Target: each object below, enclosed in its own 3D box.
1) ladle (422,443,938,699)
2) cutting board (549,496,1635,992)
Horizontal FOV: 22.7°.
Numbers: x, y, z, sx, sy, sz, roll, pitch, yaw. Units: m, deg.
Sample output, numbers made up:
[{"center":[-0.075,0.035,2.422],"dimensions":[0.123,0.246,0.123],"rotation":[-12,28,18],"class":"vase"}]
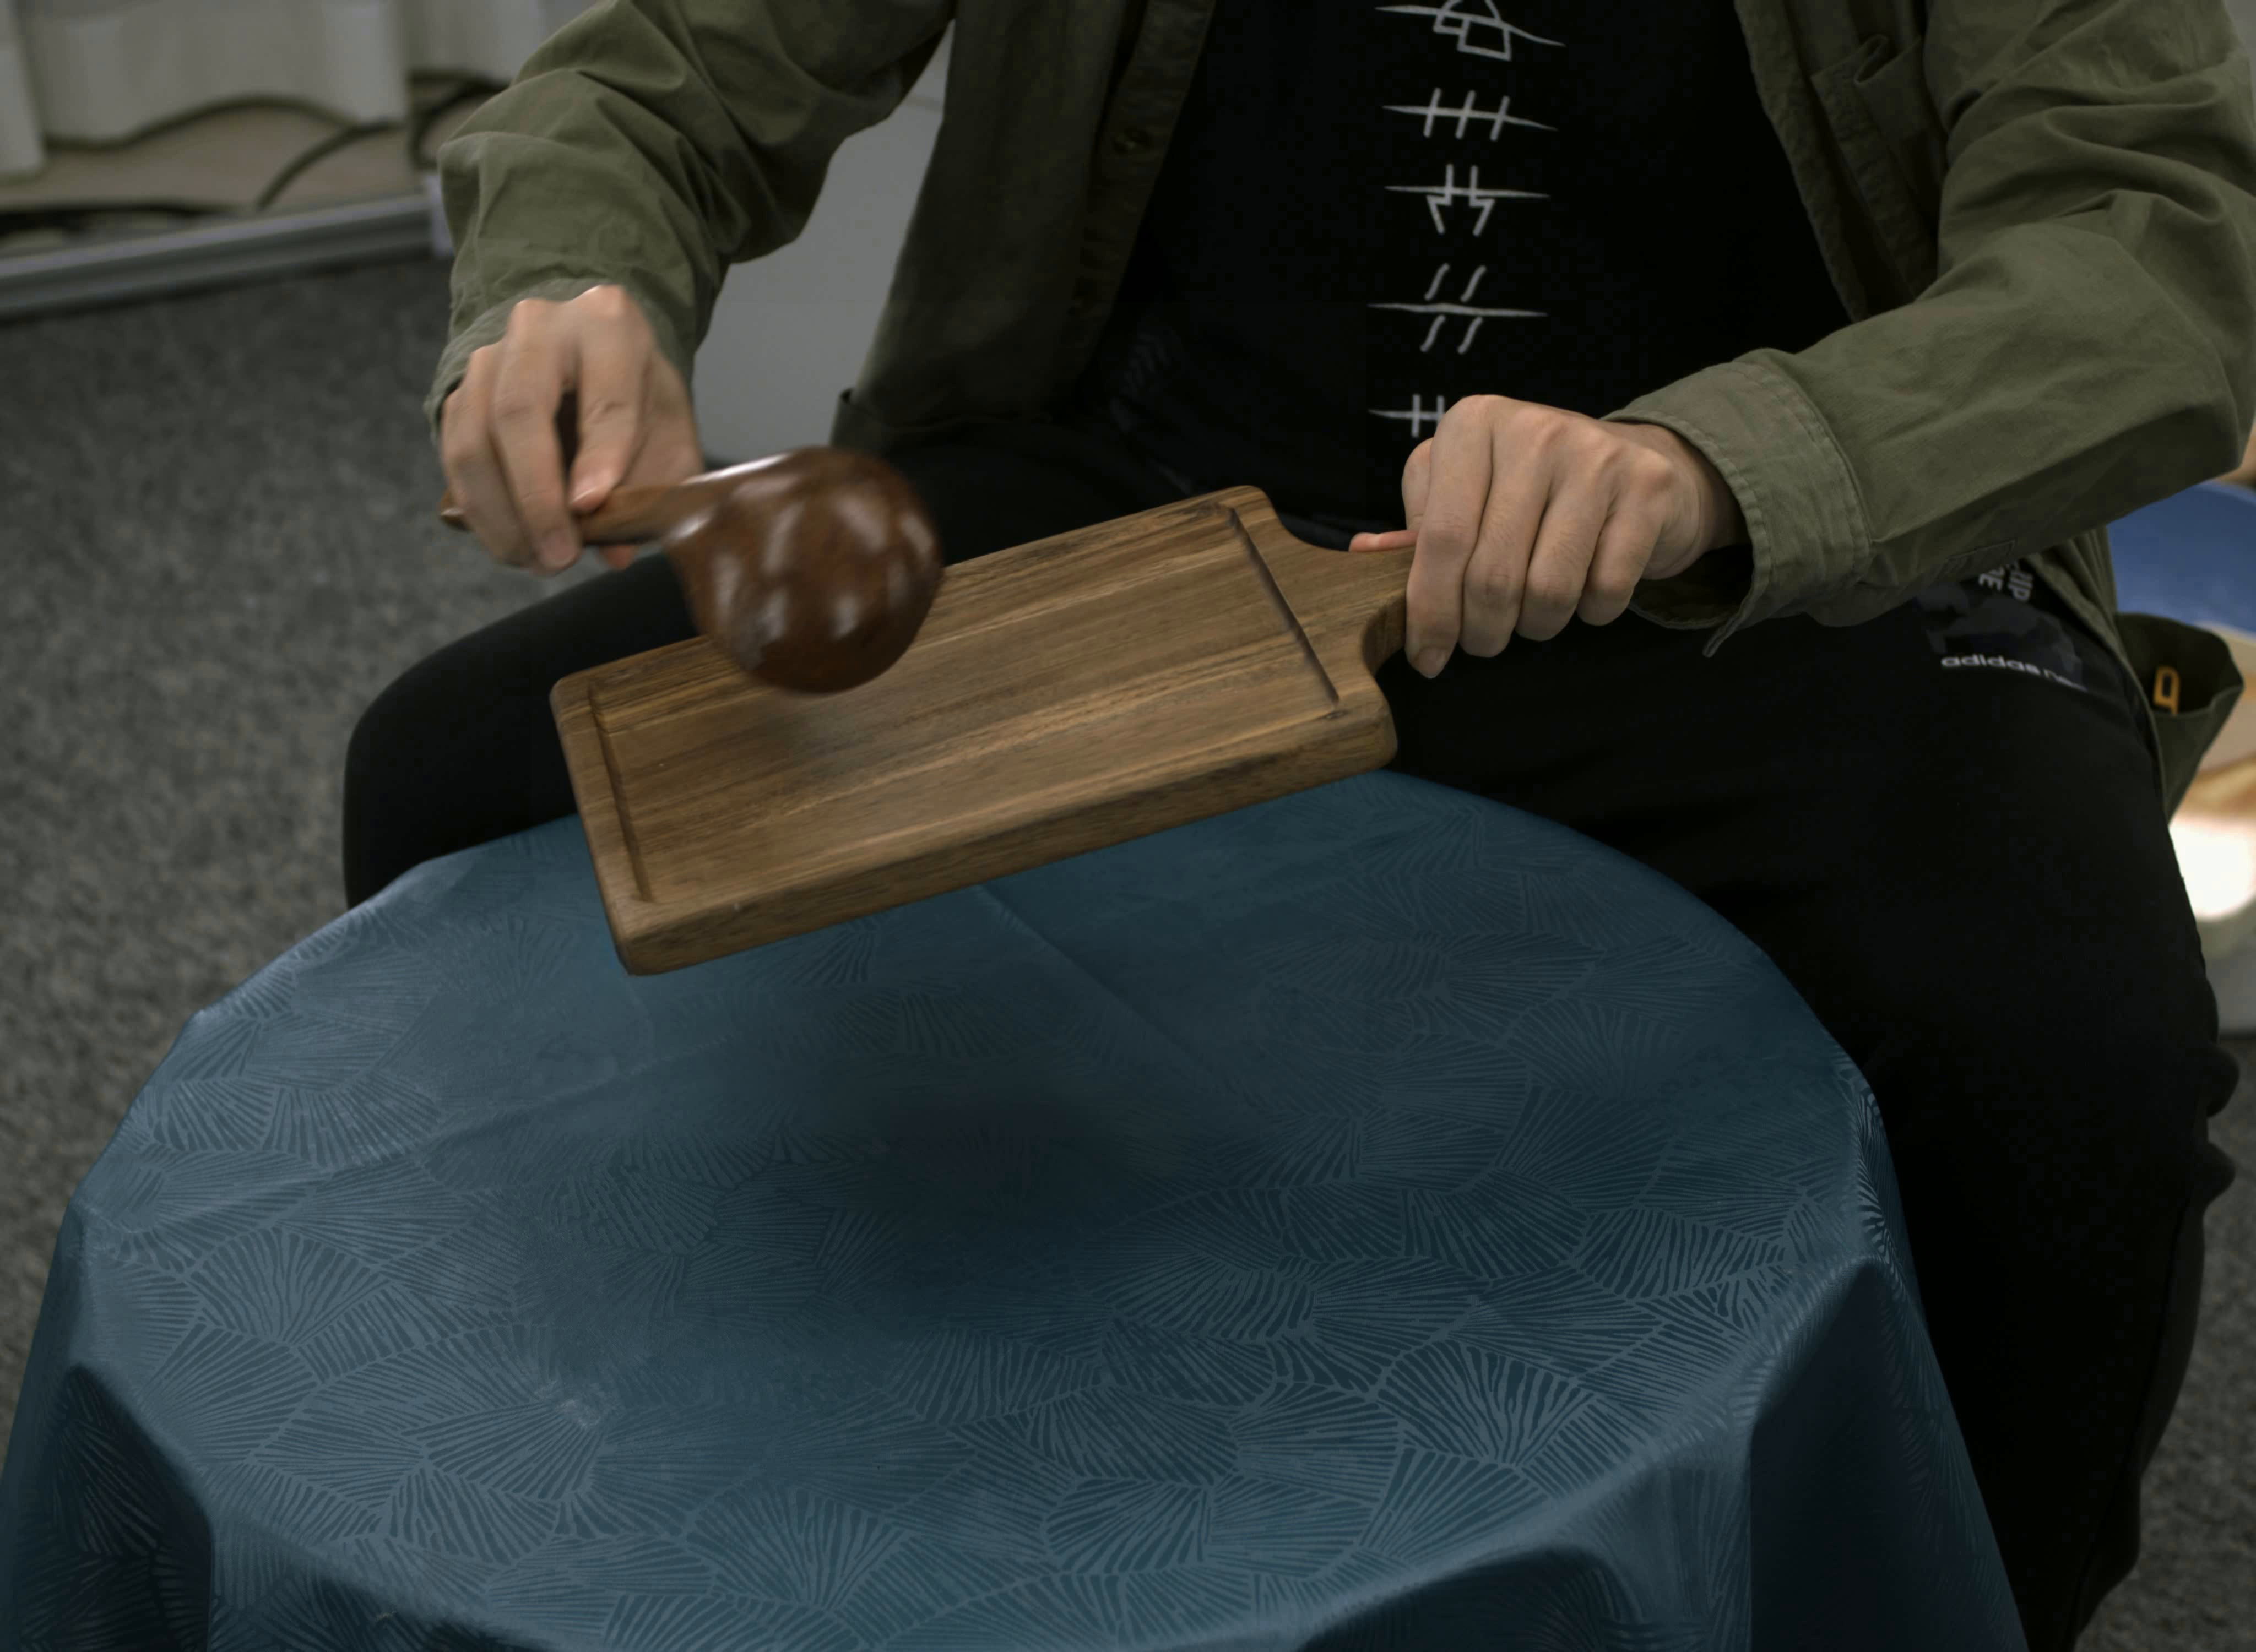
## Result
[{"center":[-0.150,-0.090,1.857],"dimensions":[0.083,0.076,0.272],"rotation":[-56,25,-13],"class":"ladle"},{"center":[-0.007,-0.043,1.795],"dimensions":[0.351,0.023,0.203],"rotation":[-15,27,-4],"class":"cutting board"}]
